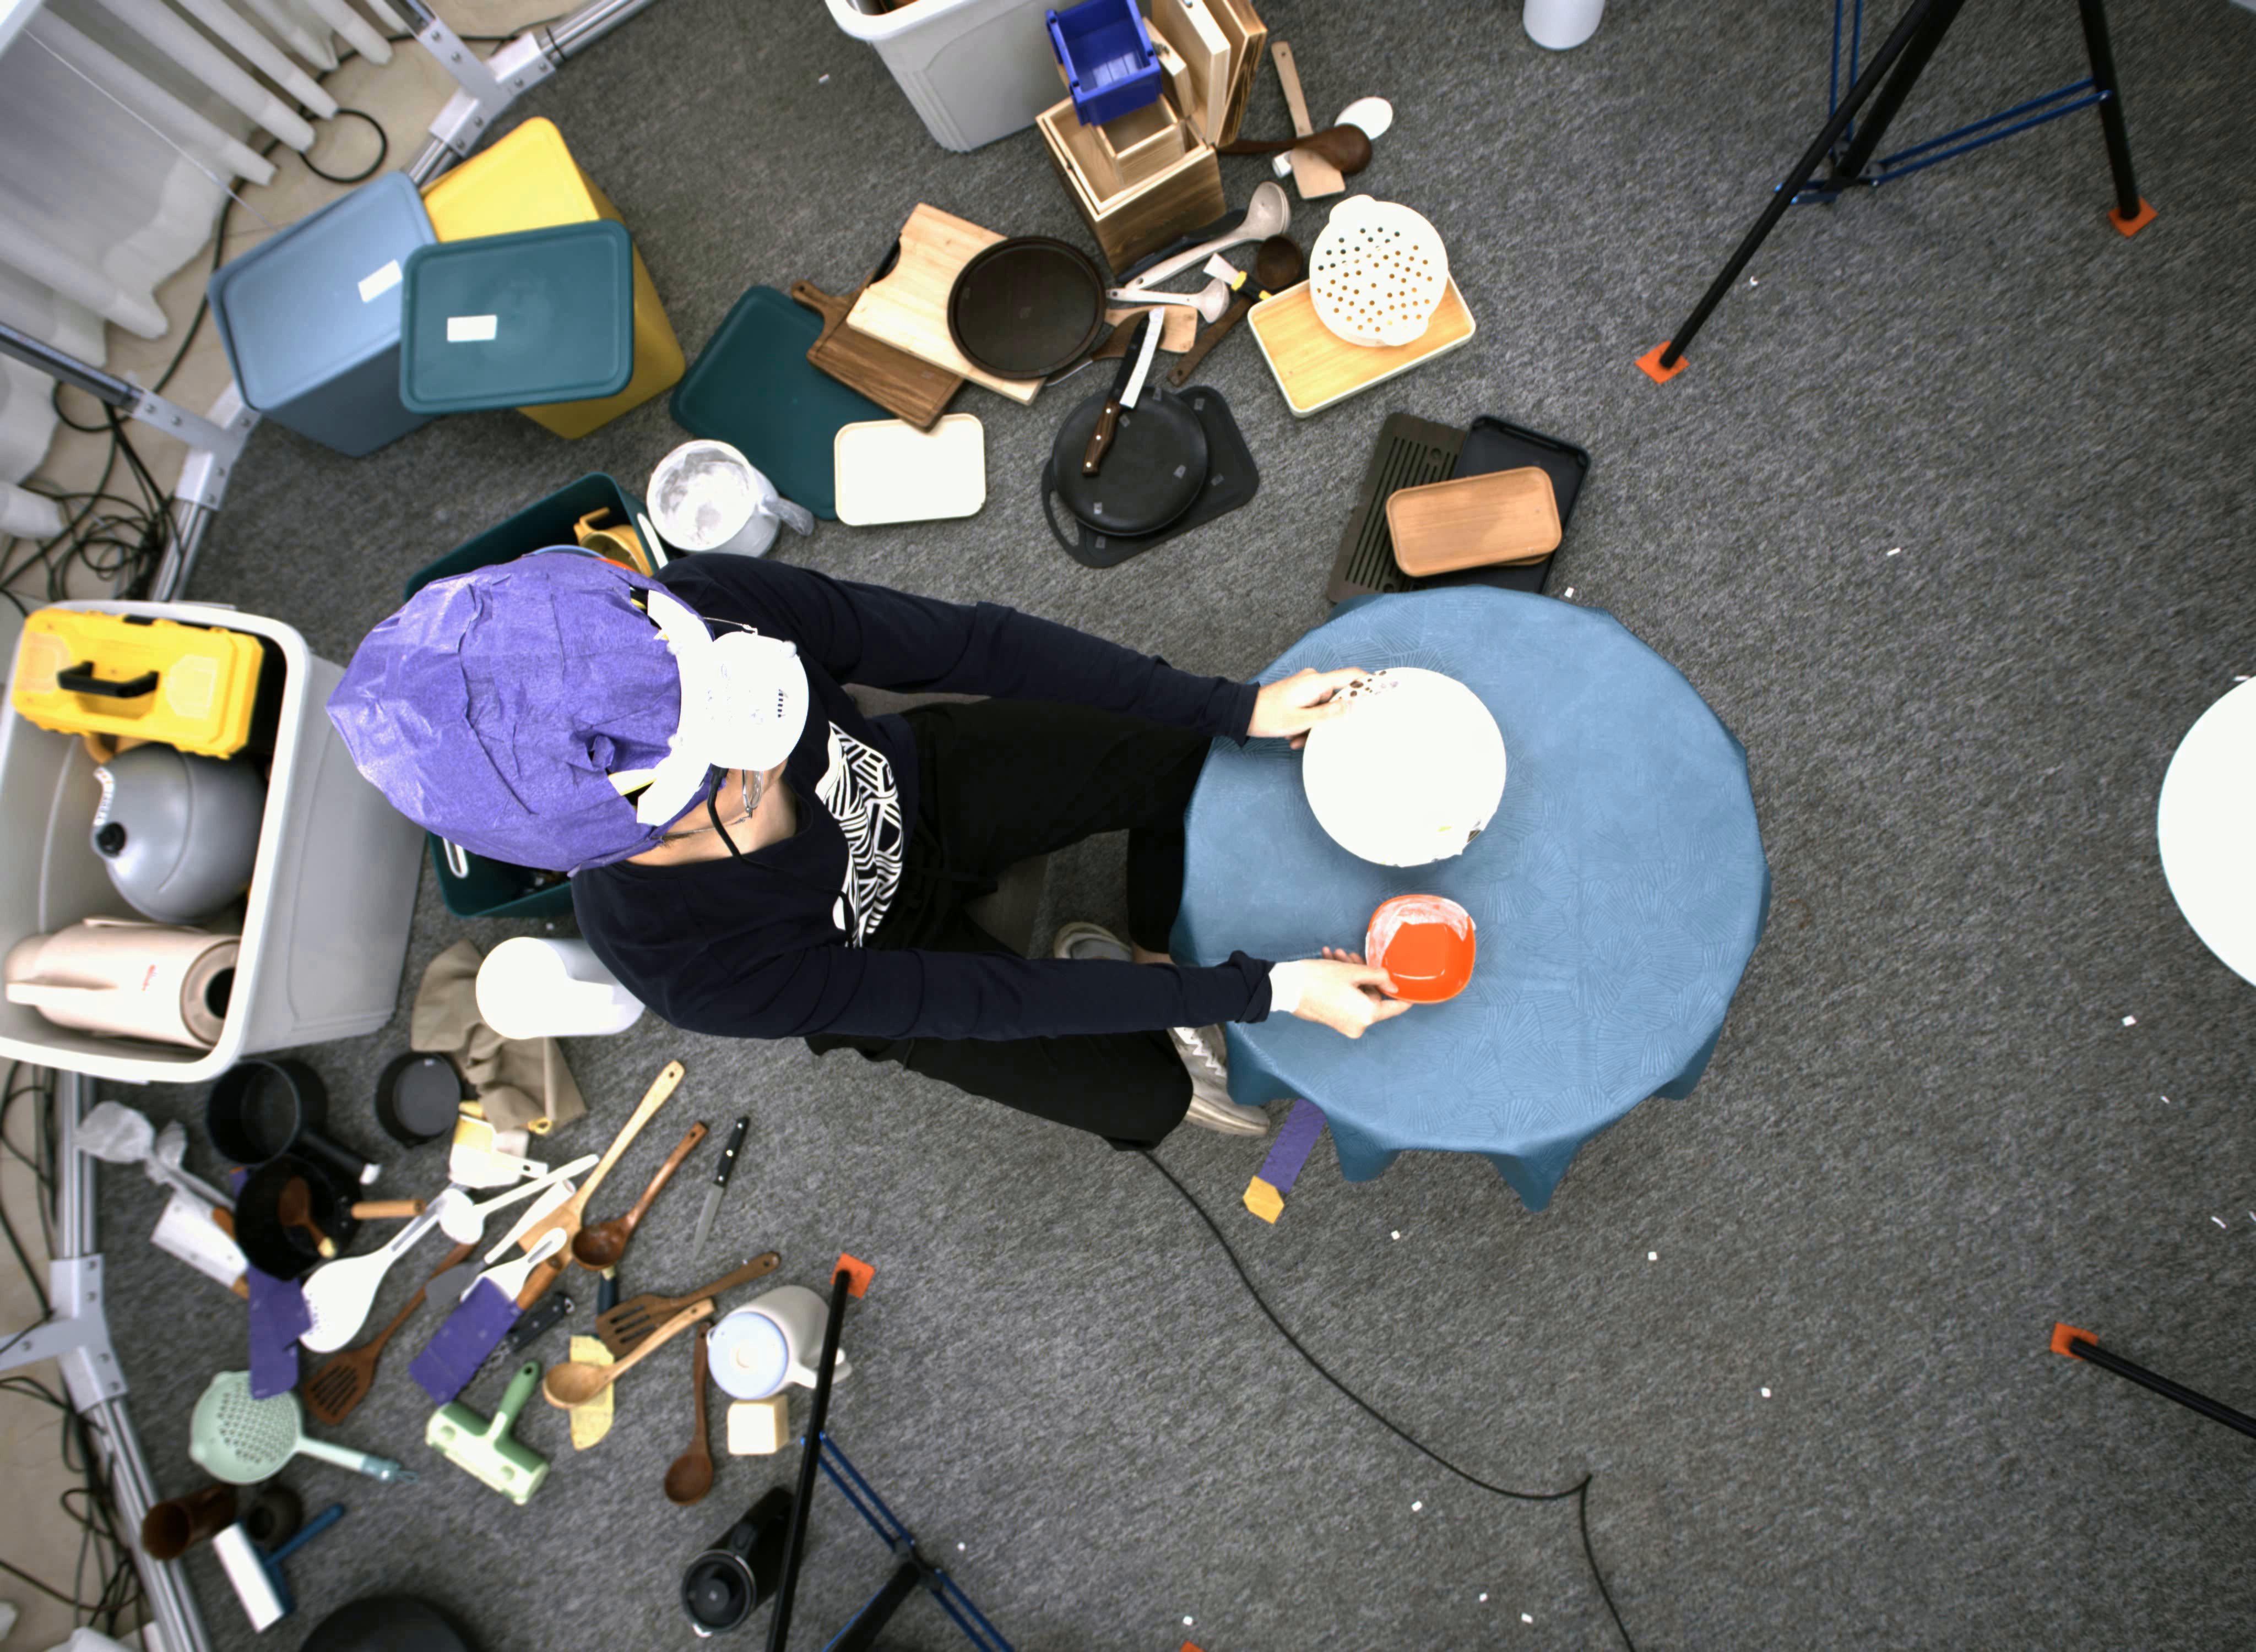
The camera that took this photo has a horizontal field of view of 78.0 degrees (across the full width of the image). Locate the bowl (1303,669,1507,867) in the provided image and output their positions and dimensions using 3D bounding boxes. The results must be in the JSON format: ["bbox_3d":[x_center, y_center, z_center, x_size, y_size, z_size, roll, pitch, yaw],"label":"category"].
[{"bbox_3d":[0.285,-0.057,1.426,0.205,0.078,0.203,-1,86,11],"label":"bowl"}]

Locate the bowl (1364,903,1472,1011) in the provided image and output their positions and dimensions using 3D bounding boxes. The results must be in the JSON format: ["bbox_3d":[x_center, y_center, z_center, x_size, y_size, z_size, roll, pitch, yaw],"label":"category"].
[{"bbox_3d":[0.299,0.136,1.433,0.119,0.051,0.118,-1,81,8],"label":"bowl"}]
